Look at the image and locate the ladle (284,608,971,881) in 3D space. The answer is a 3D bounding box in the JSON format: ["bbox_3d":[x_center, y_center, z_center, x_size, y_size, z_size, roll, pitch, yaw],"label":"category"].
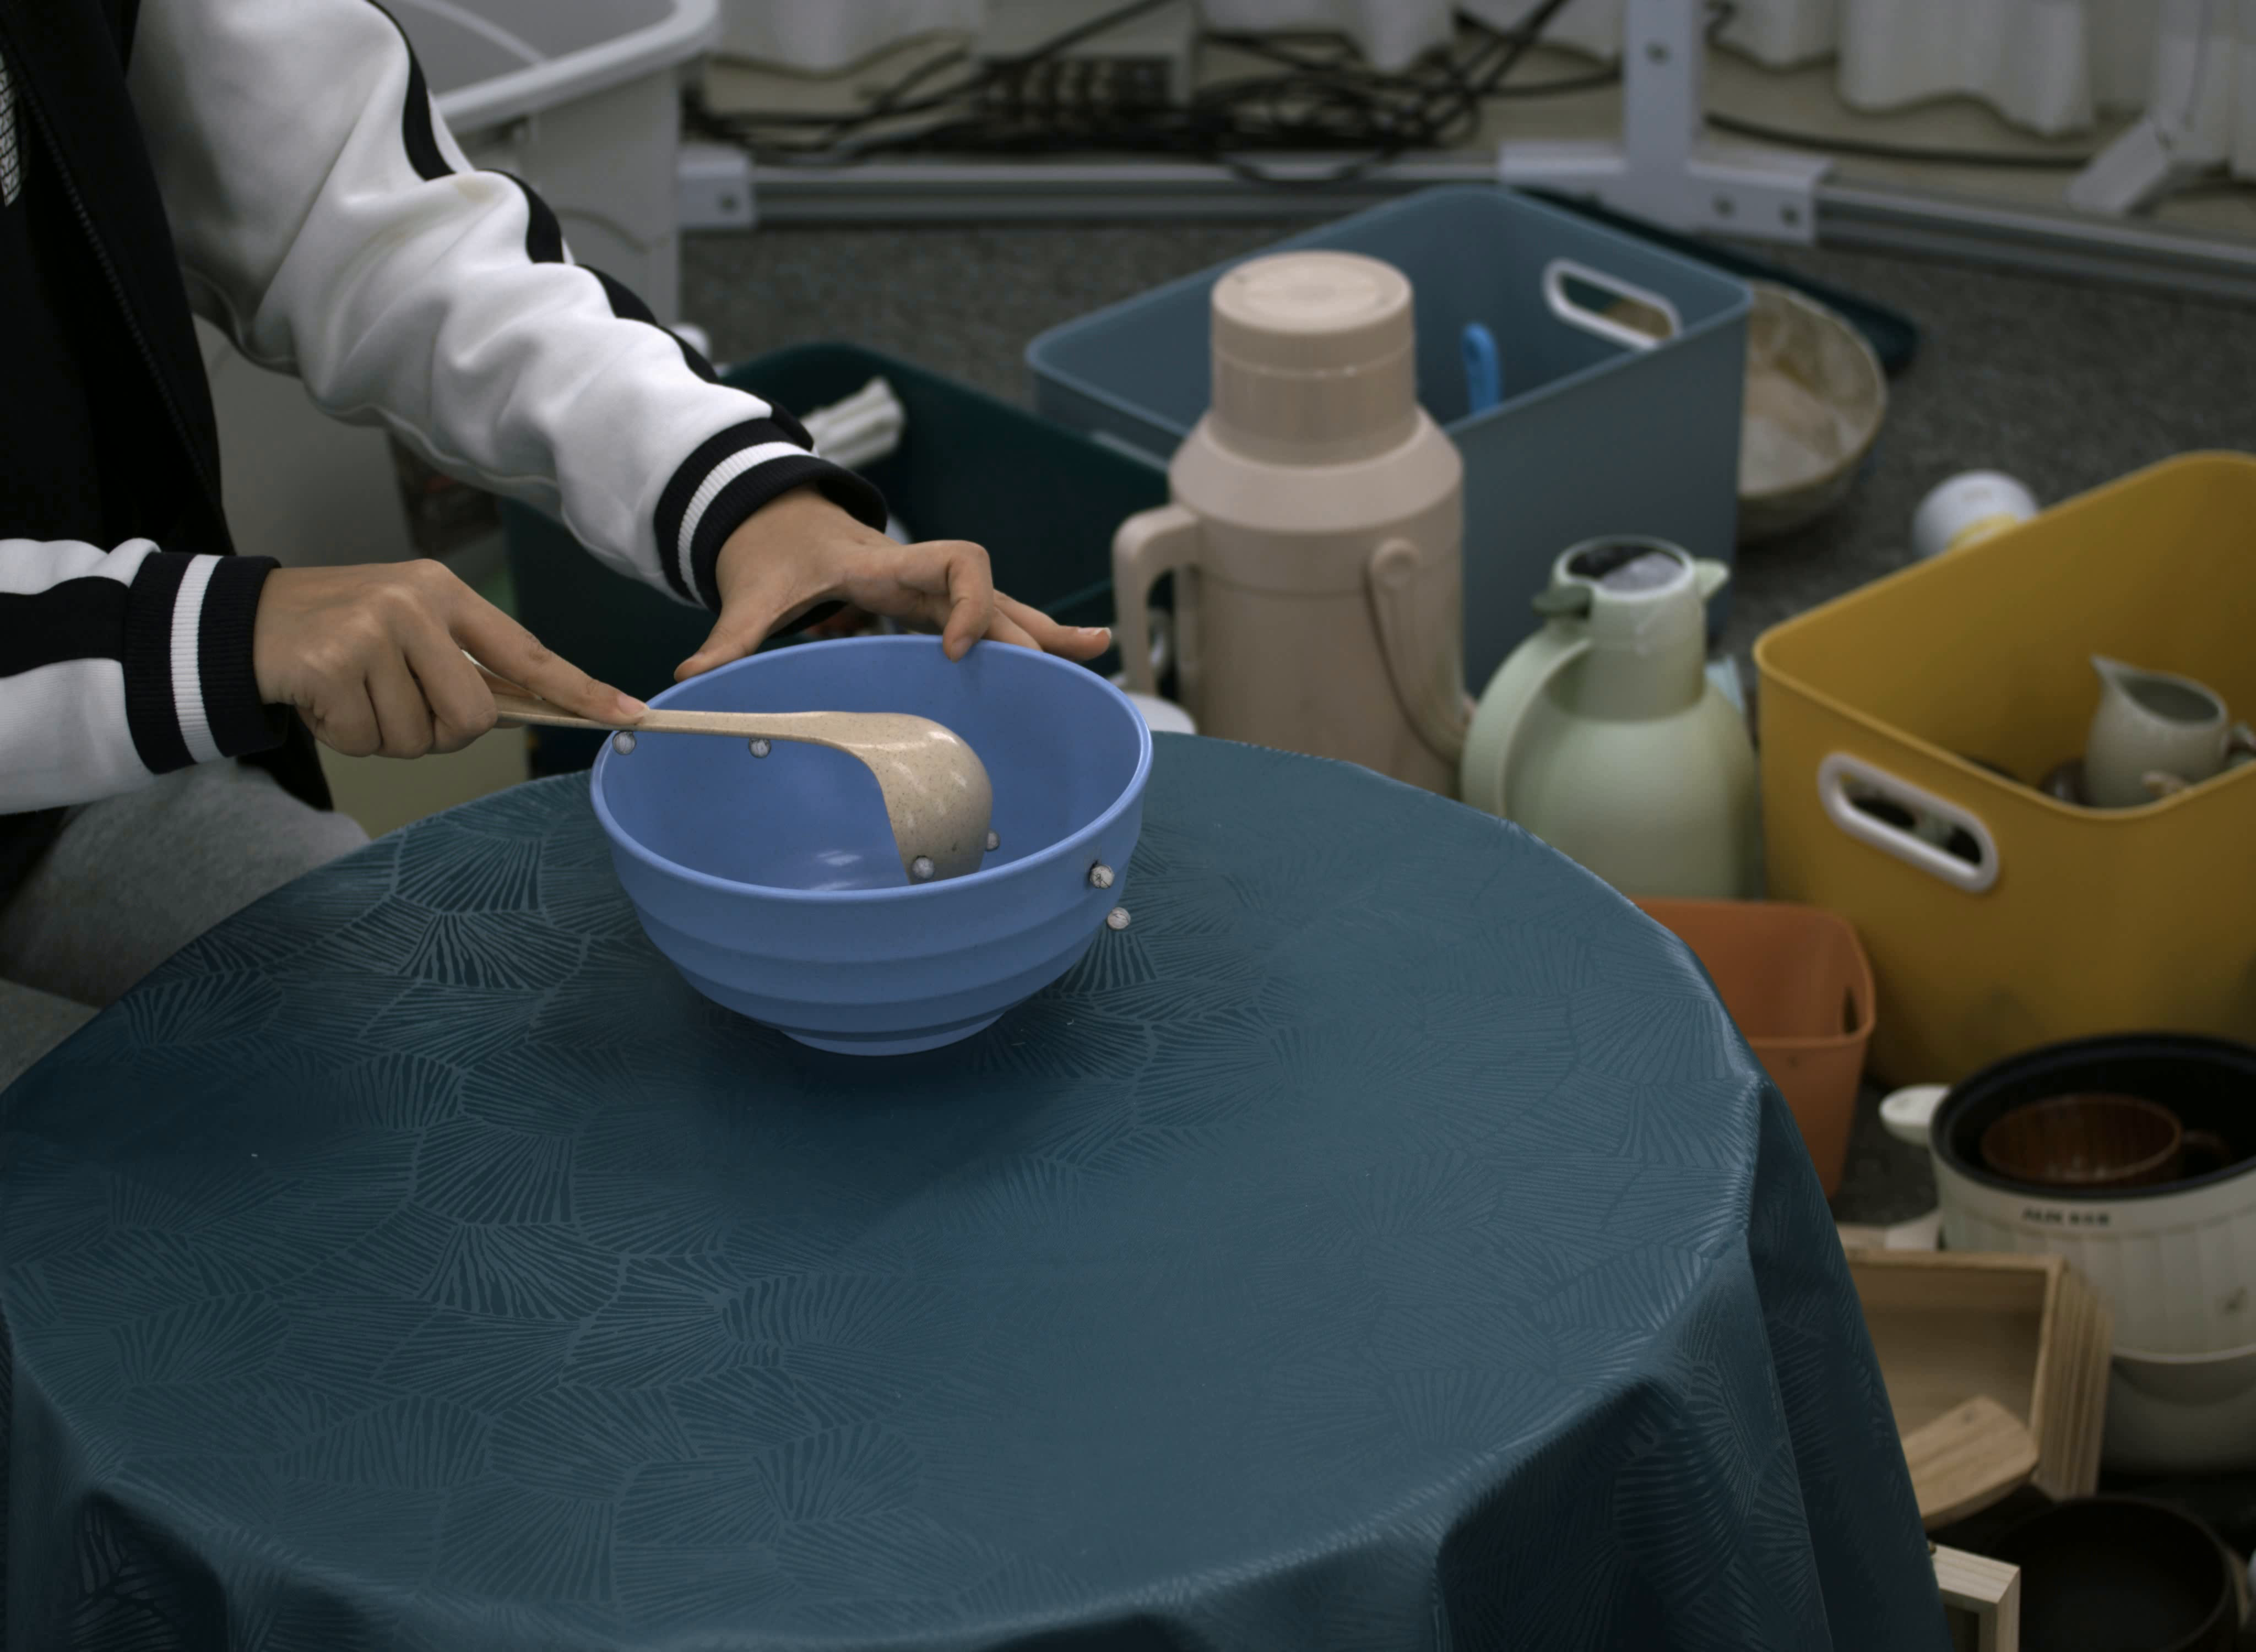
[{"bbox_3d":[-0.181,-0.013,1.951,0.253,0.071,0.074,13,72,4],"label":"ladle"}]

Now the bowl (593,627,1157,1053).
[{"bbox_3d":[-0.087,0.016,1.969,0.195,0.094,0.199,0,28,0],"label":"bowl"}]
